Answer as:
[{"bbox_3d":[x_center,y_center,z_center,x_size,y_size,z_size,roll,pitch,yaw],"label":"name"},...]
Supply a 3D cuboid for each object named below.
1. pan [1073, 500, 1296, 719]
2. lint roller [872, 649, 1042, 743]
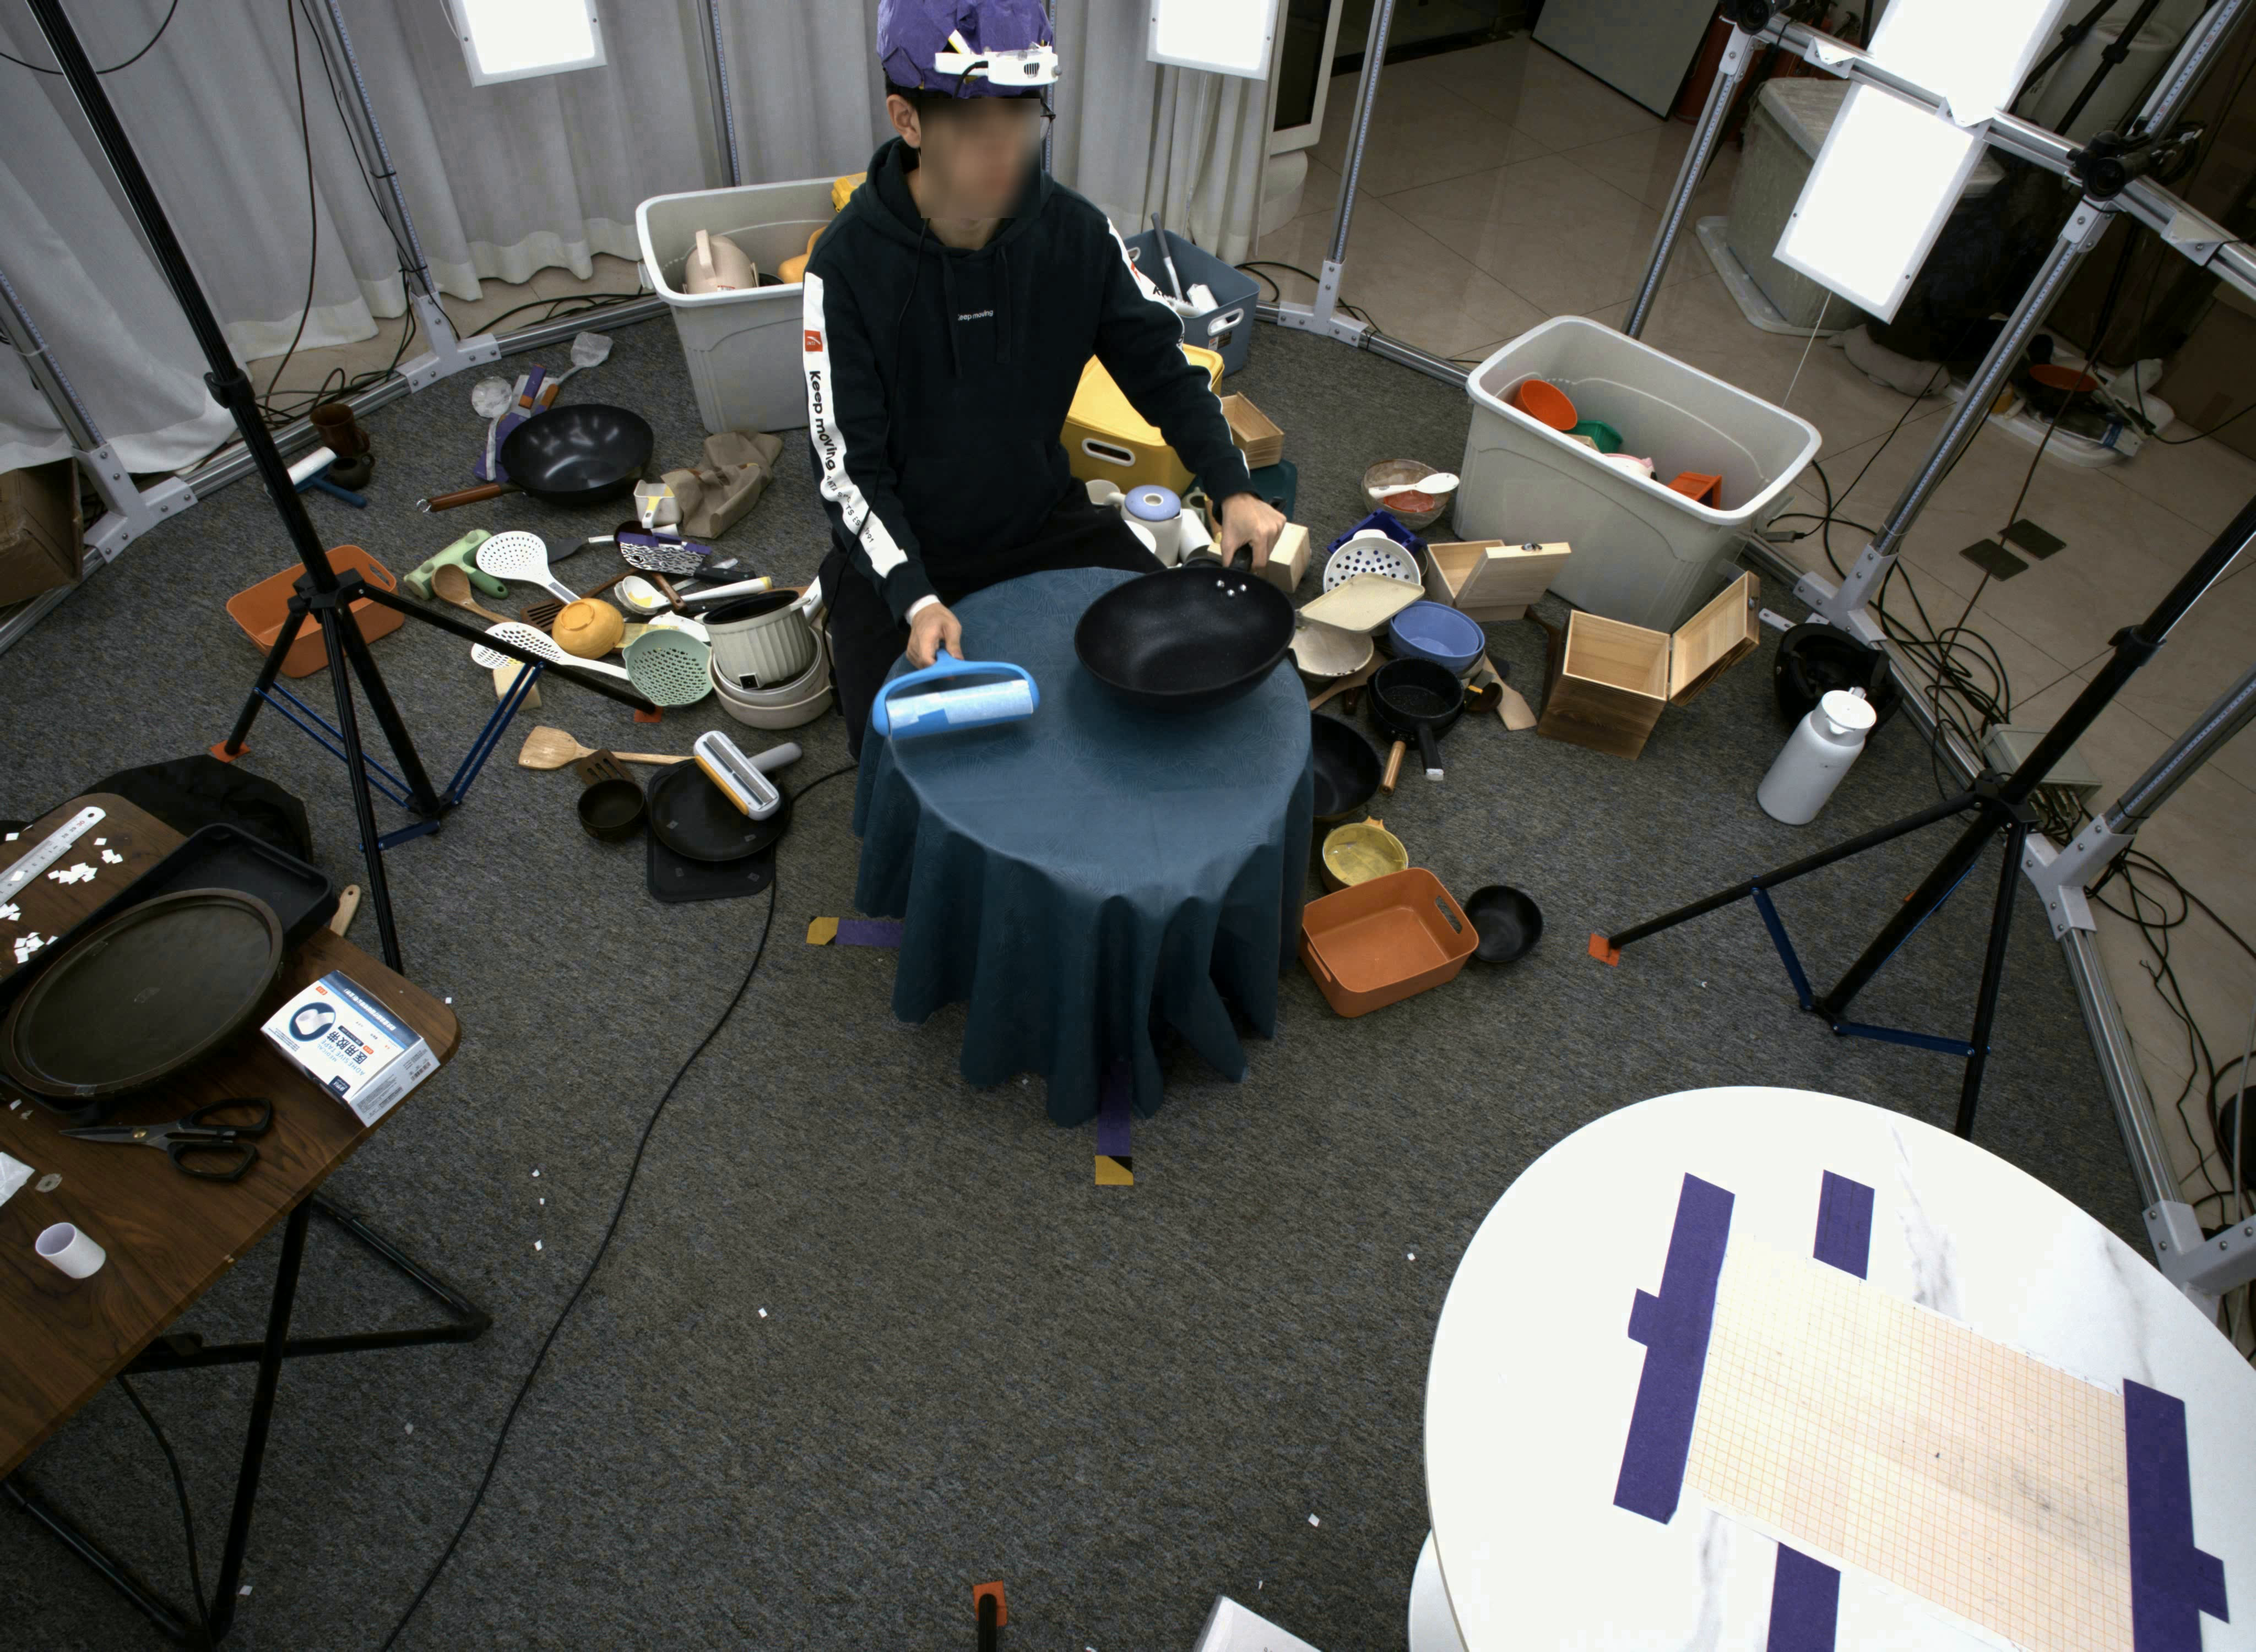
[{"bbox_3d":[0.120,-0.305,1.846,0.313,0.109,0.485,16,47,25],"label":"pan"},{"bbox_3d":[-0.248,-0.198,1.751,0.229,0.066,0.184,-15,50,-18],"label":"lint roller"}]
